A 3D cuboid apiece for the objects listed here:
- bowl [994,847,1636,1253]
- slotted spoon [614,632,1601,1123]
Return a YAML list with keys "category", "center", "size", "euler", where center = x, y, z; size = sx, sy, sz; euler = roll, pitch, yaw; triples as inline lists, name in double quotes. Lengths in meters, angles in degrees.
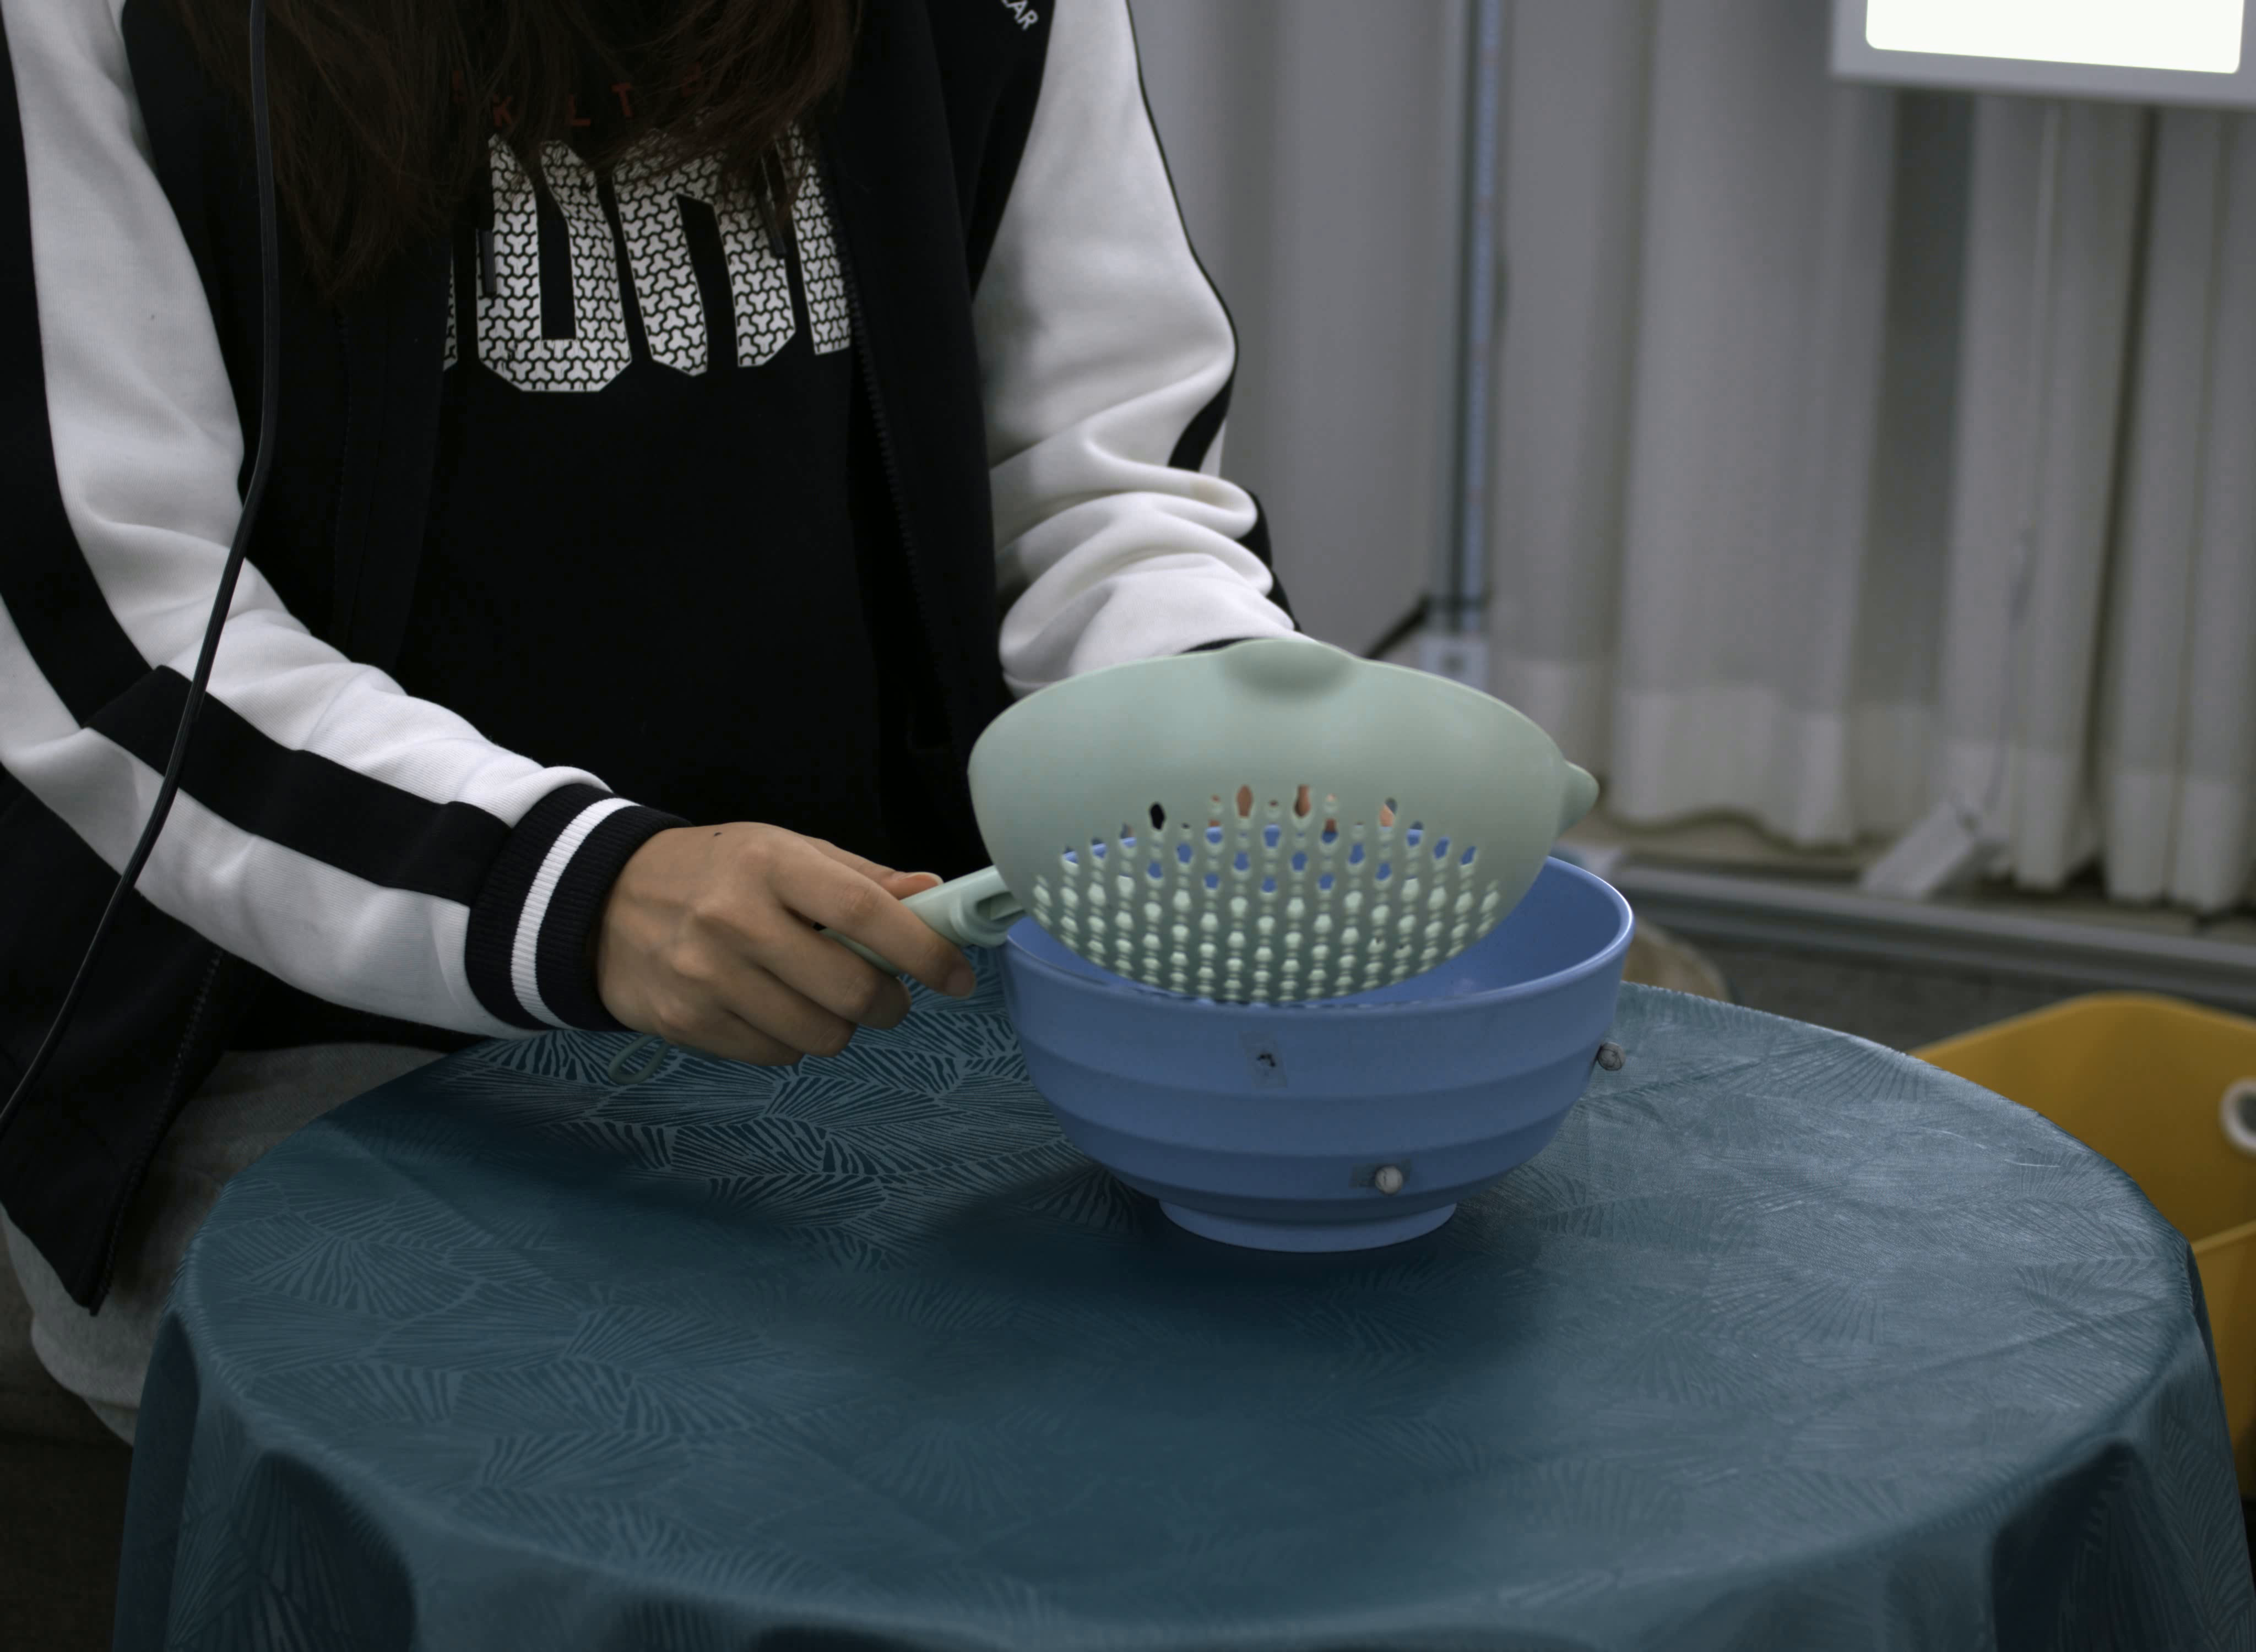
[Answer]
- category: "bowl"
  center: [0.055, 0.070, 1.598]
  size: [0.196, 0.096, 0.195]
  euler: [0, 16, 1]
- category: "slotted spoon"
  center: [-0.029, 0.027, 1.533]
  size: [0.356, 0.075, 0.171]
  euler: [-13, -27, 44]
